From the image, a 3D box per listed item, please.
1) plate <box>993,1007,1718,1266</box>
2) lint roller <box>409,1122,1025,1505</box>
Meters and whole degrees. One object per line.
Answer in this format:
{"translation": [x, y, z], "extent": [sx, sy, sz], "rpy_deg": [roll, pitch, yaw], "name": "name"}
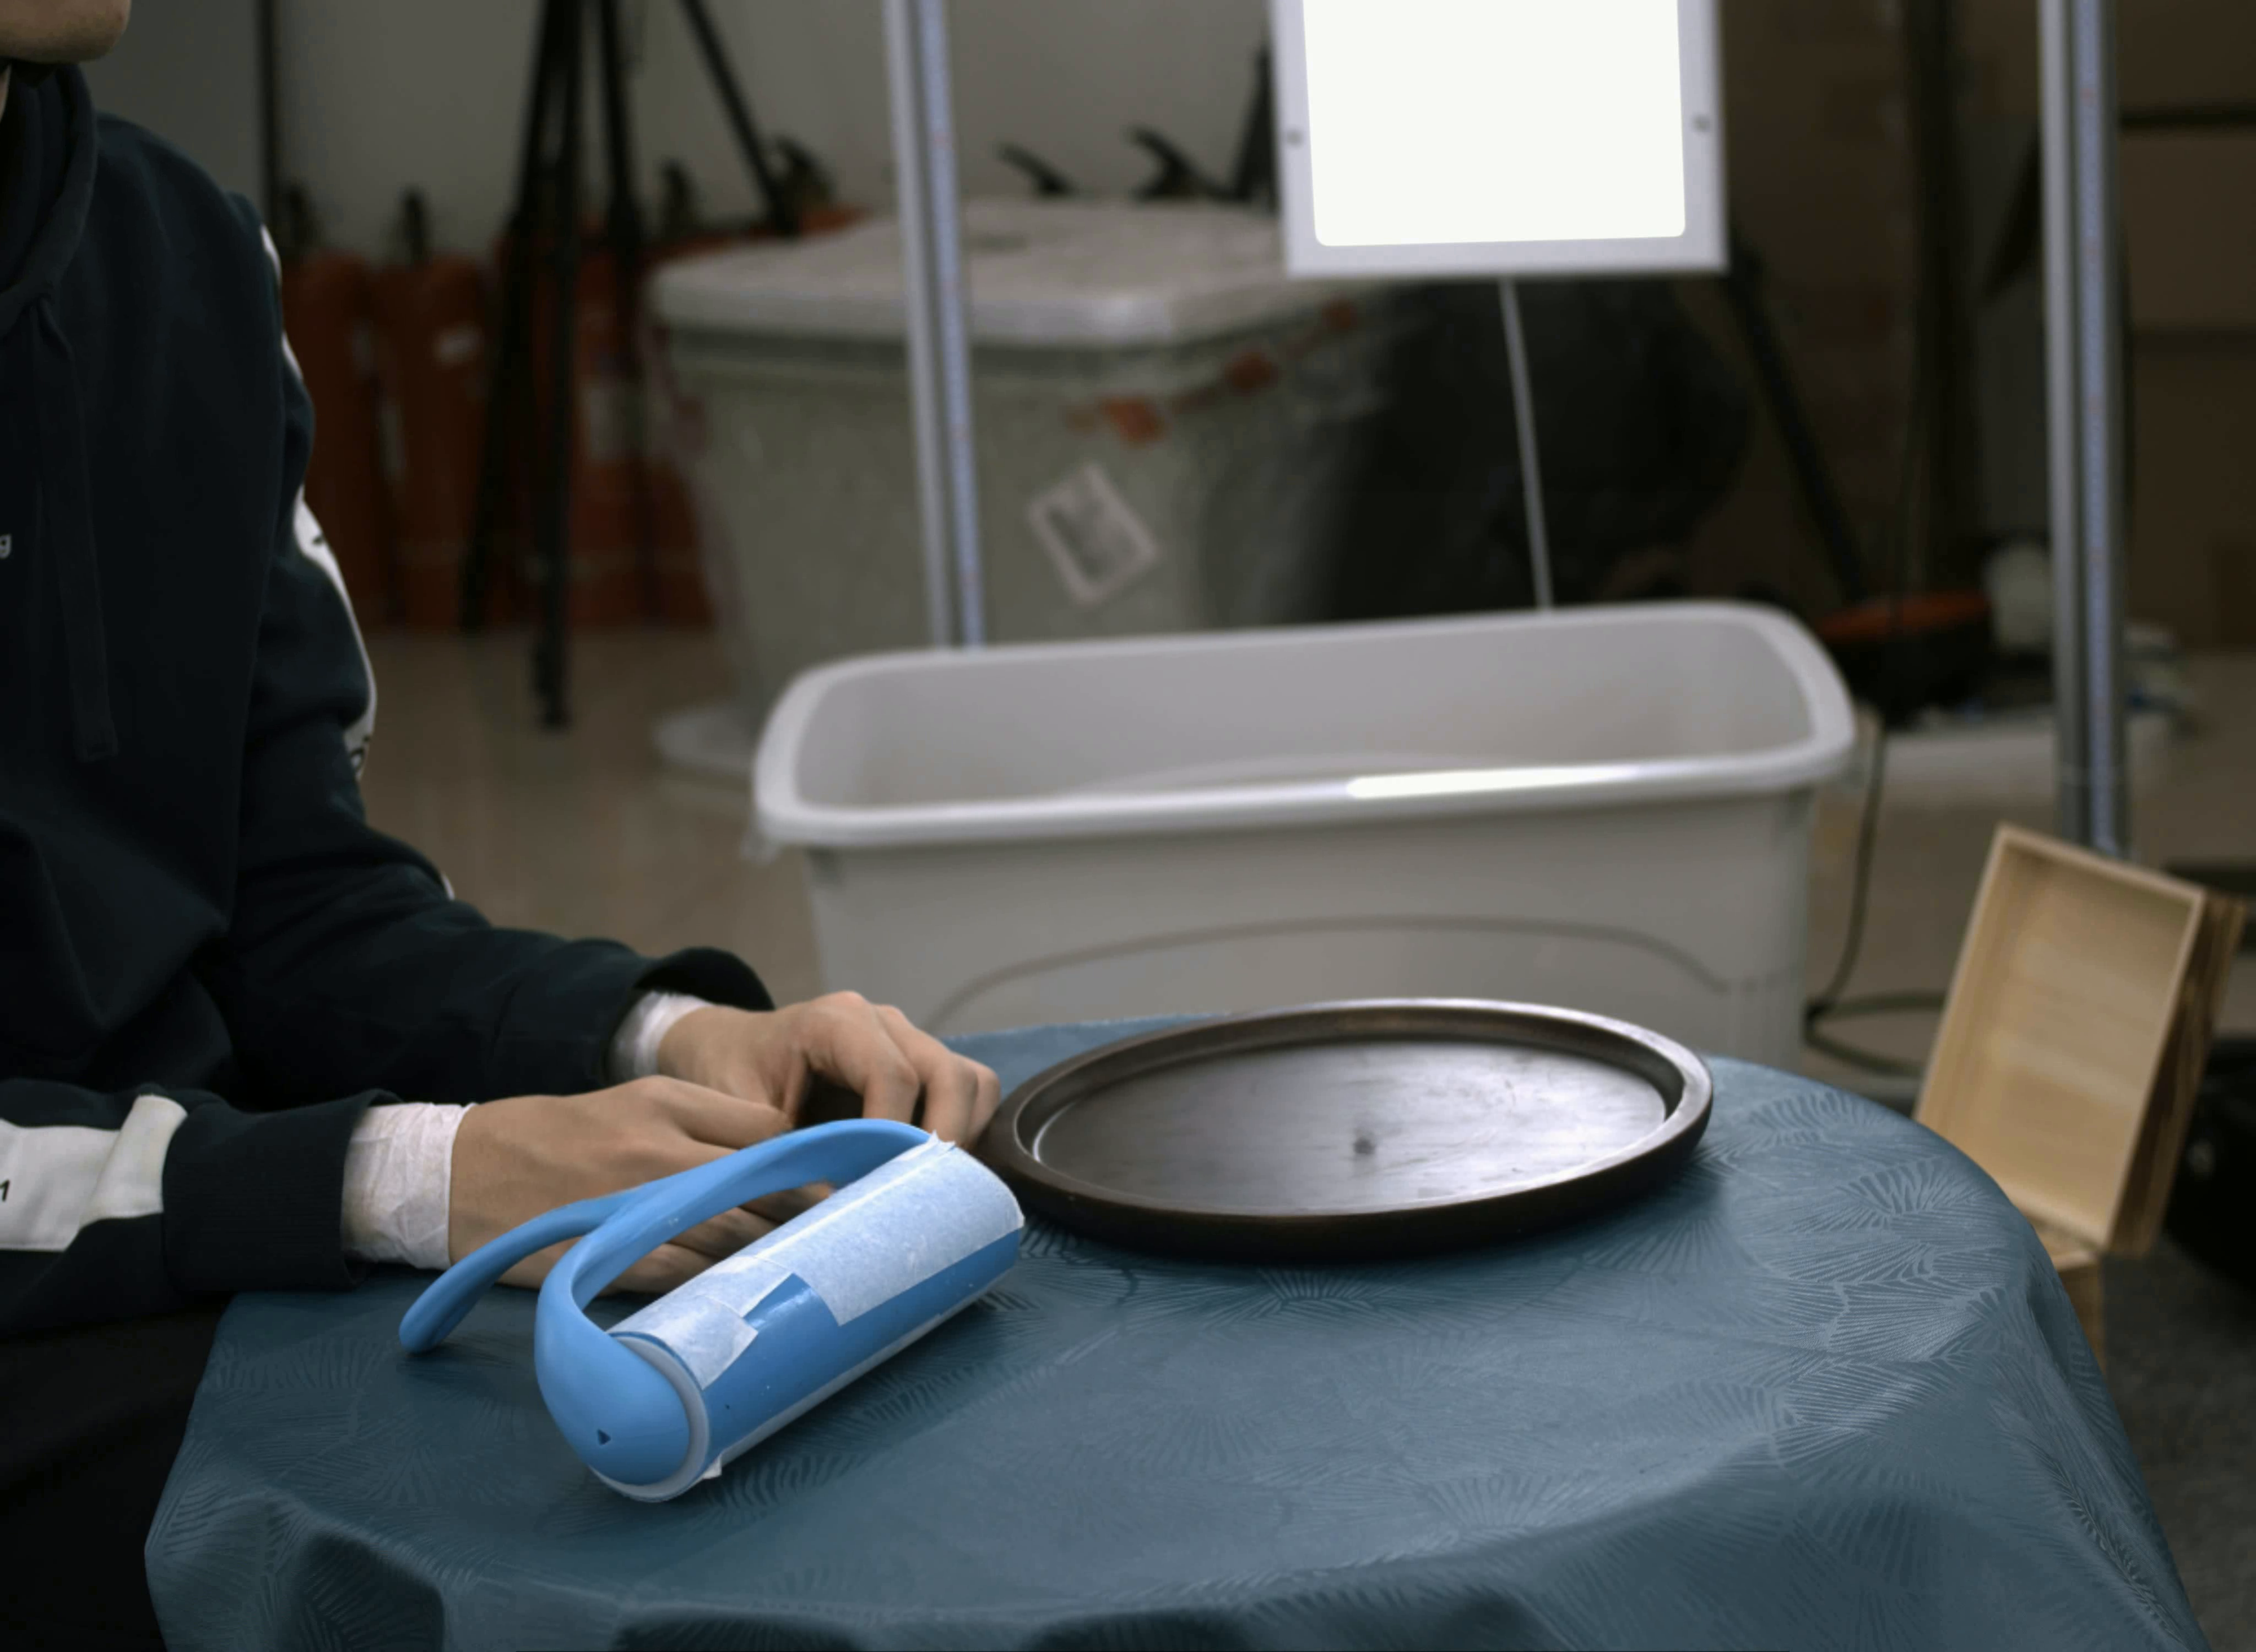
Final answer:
{"translation": [0.079, 0.105, 1.905], "extent": [0.254, 0.029, 0.254], "rpy_deg": [-4, 13, 0], "name": "plate"}
{"translation": [-0.153, 0.148, 1.743], "extent": [0.183, 0.068, 0.224], "rpy_deg": [3, 17, 26], "name": "lint roller"}
